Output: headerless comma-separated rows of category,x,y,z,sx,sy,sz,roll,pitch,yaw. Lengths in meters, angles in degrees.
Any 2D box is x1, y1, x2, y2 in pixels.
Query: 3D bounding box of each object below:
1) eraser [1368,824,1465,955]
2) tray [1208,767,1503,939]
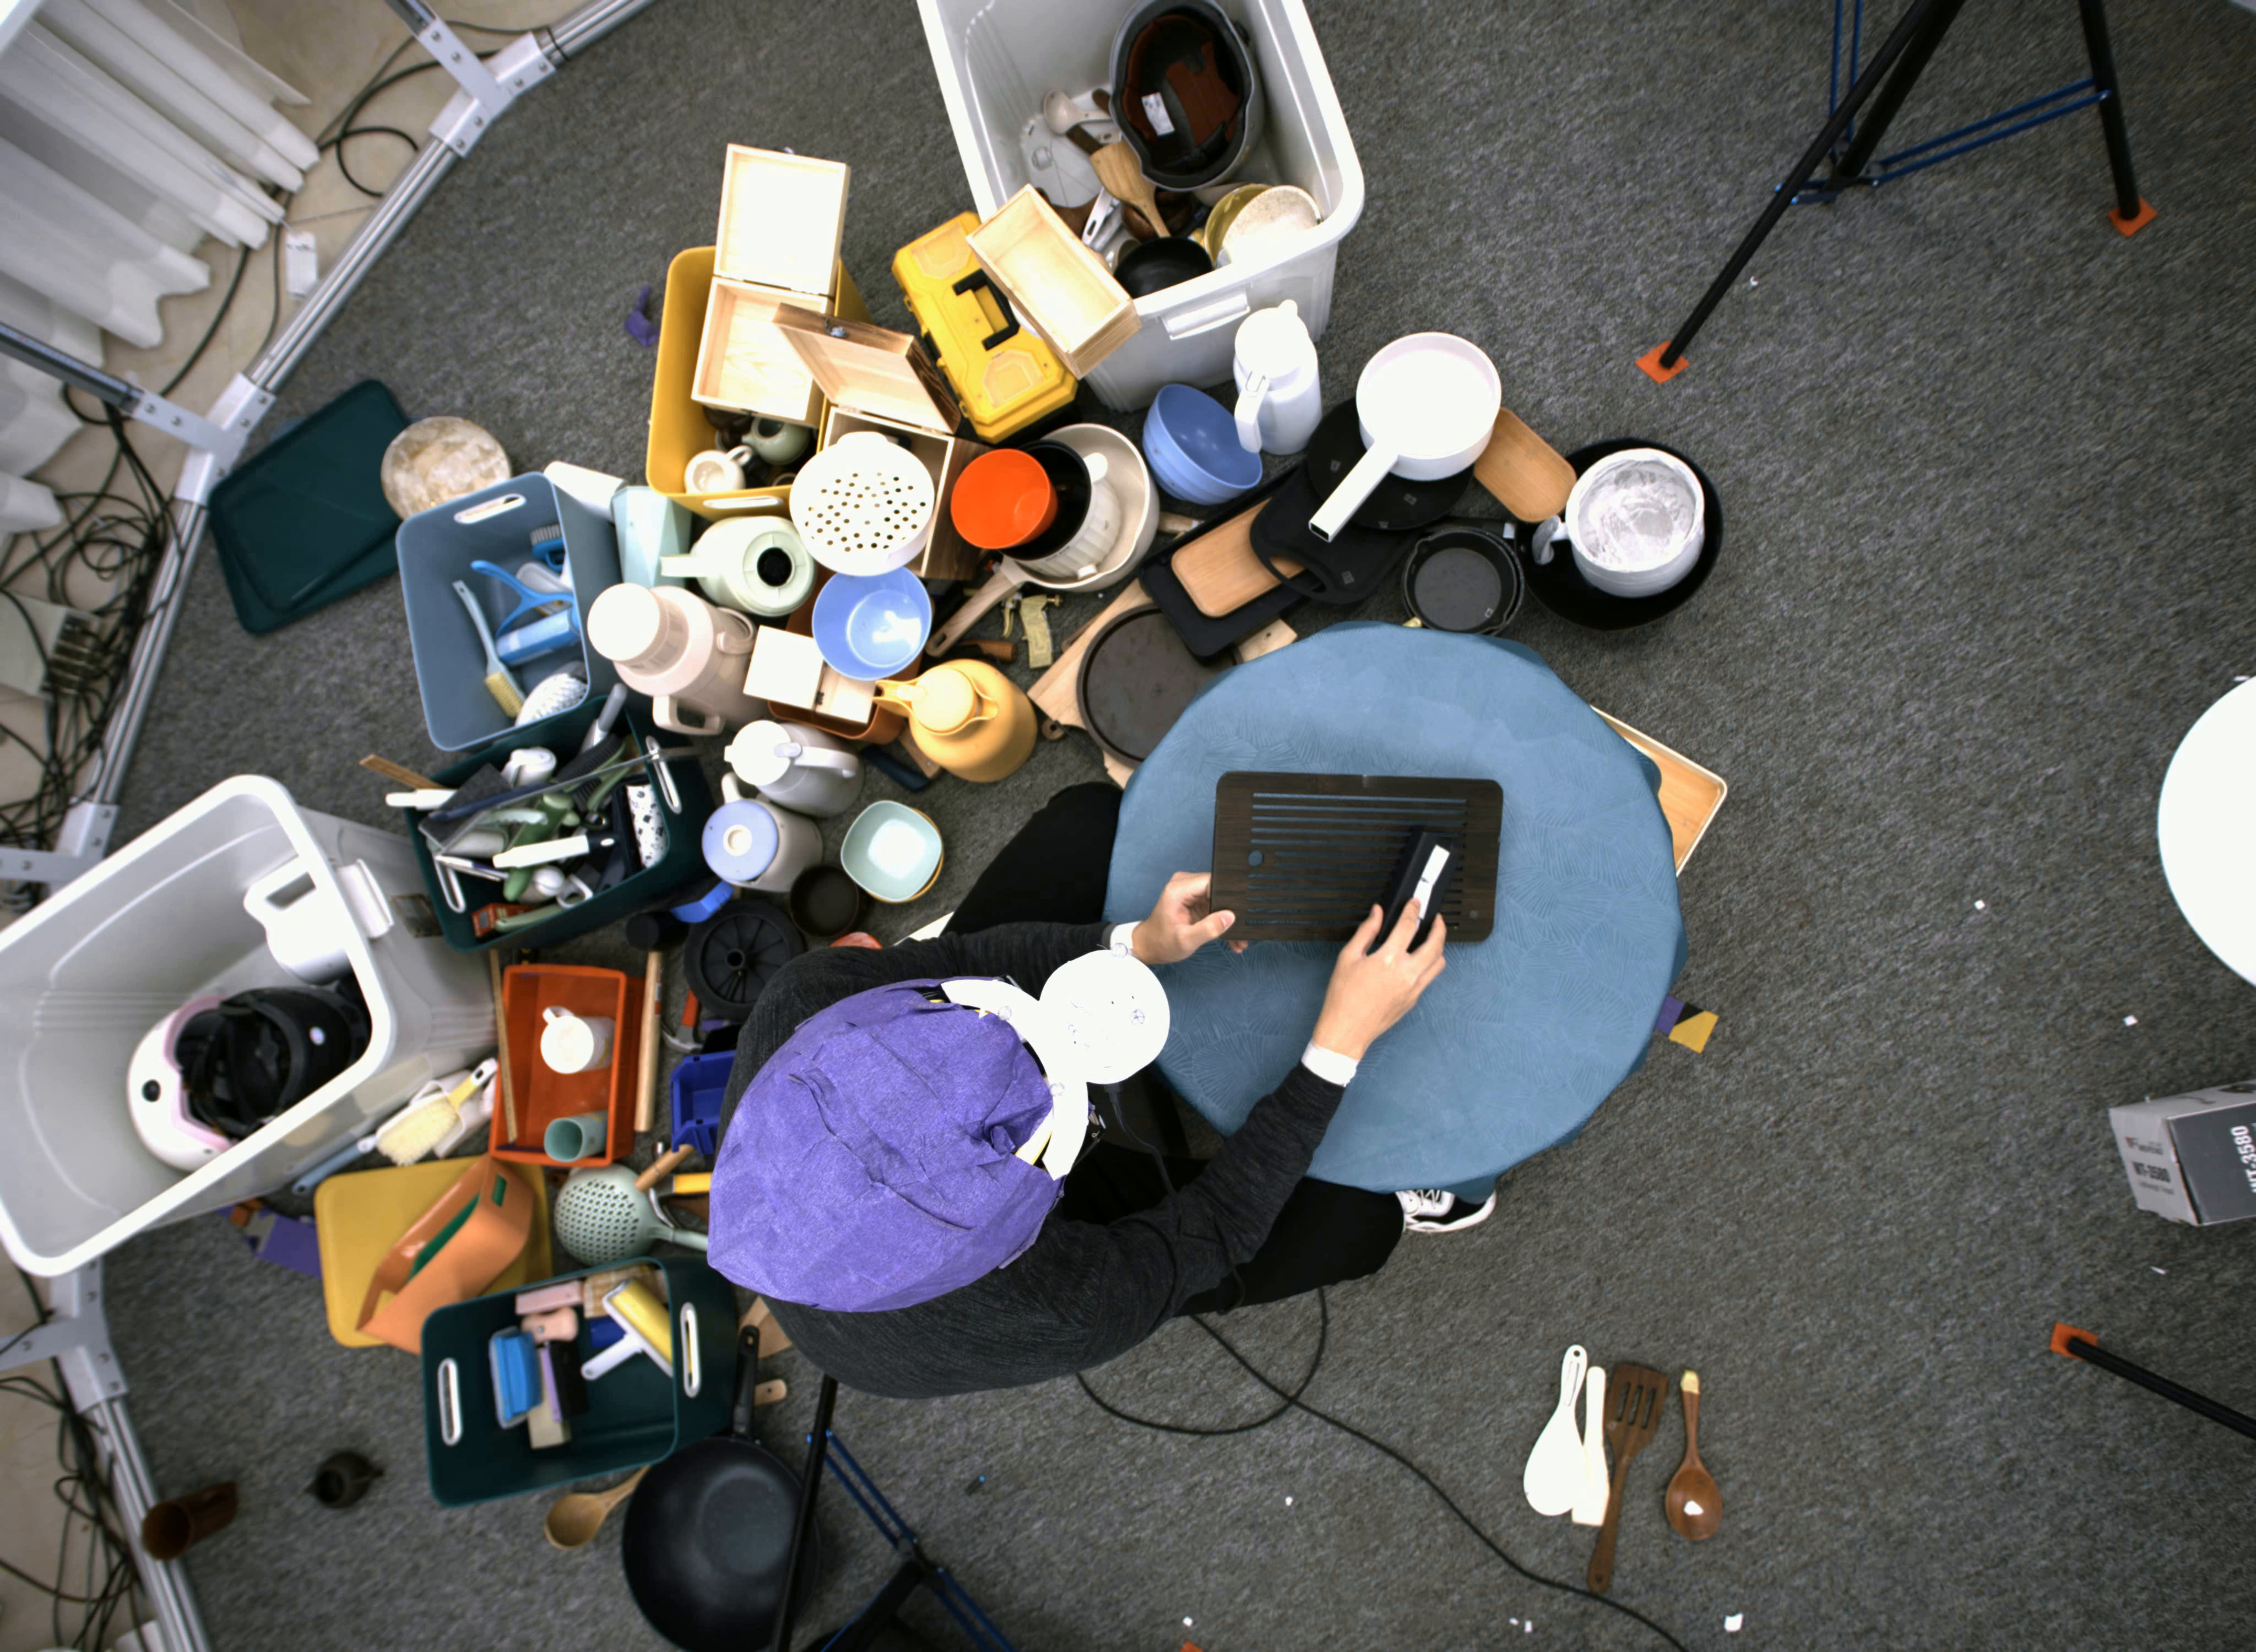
eraser,0.290,0.062,1.389,0.053,0.030,0.126,21,97,-11
tray,0.231,0.028,1.392,0.305,0.018,0.171,1,100,-11
